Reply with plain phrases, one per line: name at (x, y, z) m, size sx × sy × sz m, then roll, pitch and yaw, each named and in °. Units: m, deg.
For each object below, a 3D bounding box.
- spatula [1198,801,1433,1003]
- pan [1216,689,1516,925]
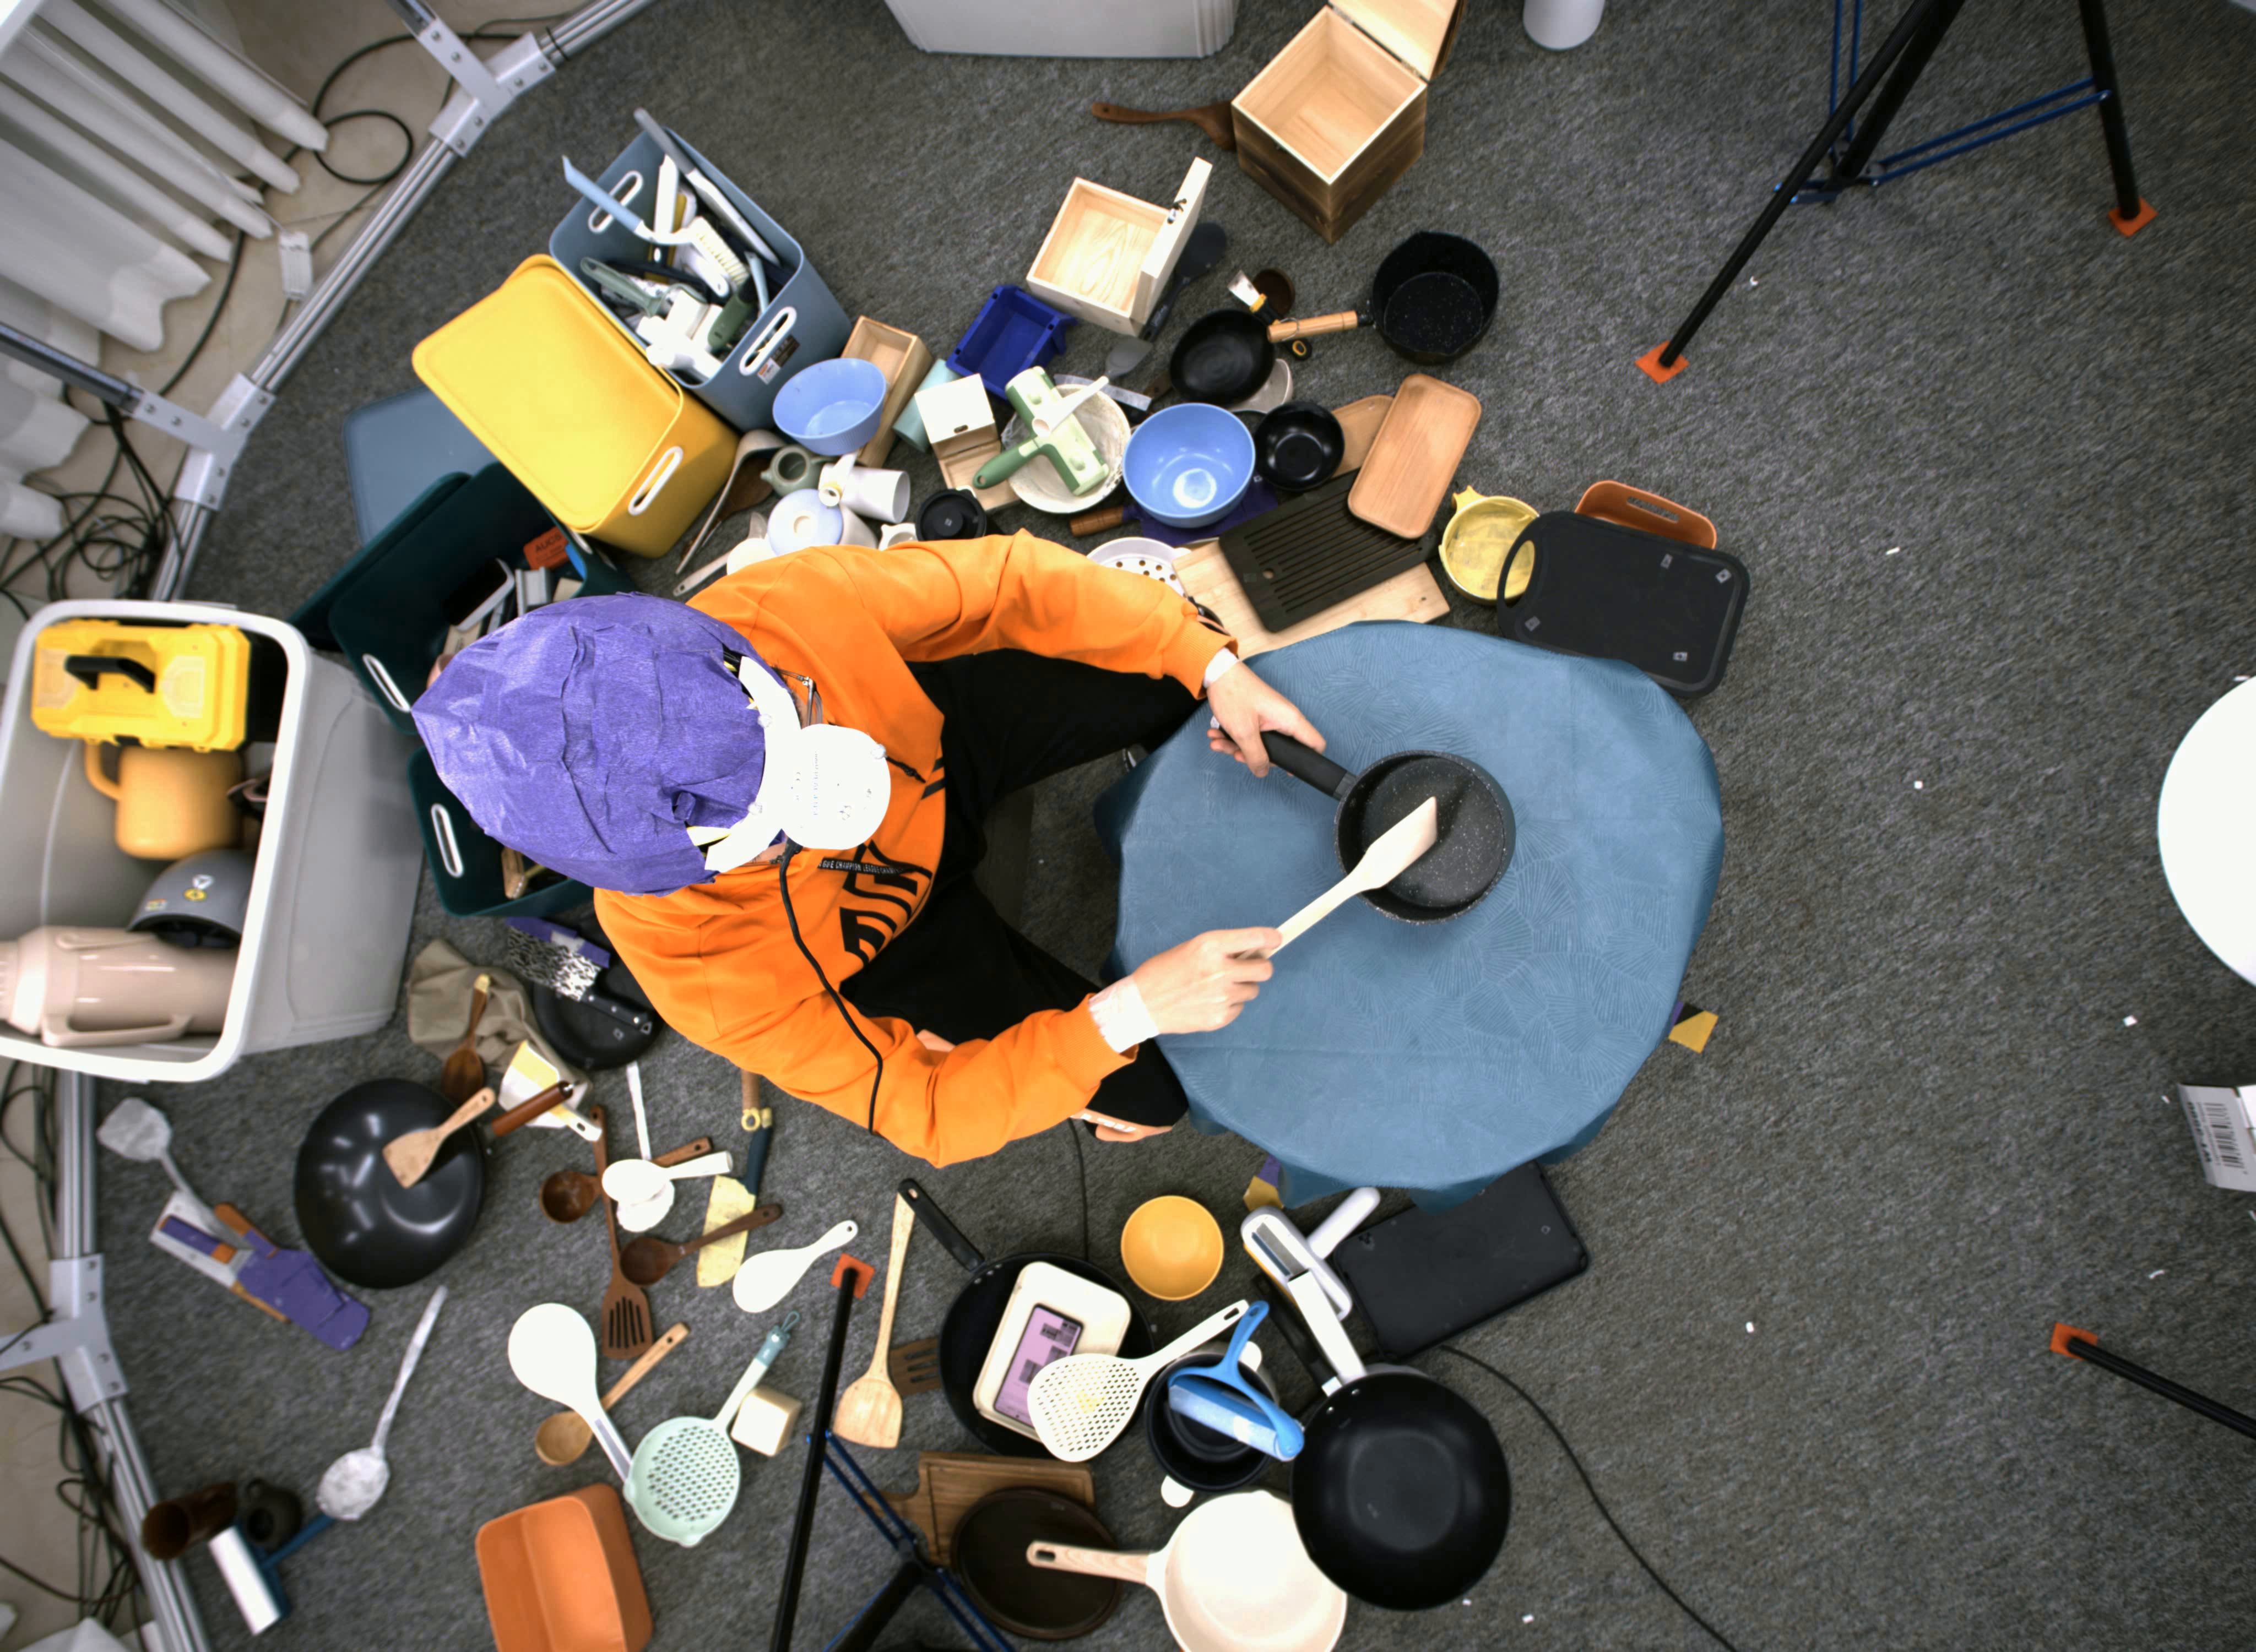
spatula at (0.181, 0.075, 1.304) m, size 0.291 × 0.074 × 0.010 m, roll -36°, pitch 57°, yaw -11°
pan at (0.235, -0.037, 1.386) m, size 0.327 × 0.085 × 0.174 m, roll 36°, pitch 109°, yaw 16°
